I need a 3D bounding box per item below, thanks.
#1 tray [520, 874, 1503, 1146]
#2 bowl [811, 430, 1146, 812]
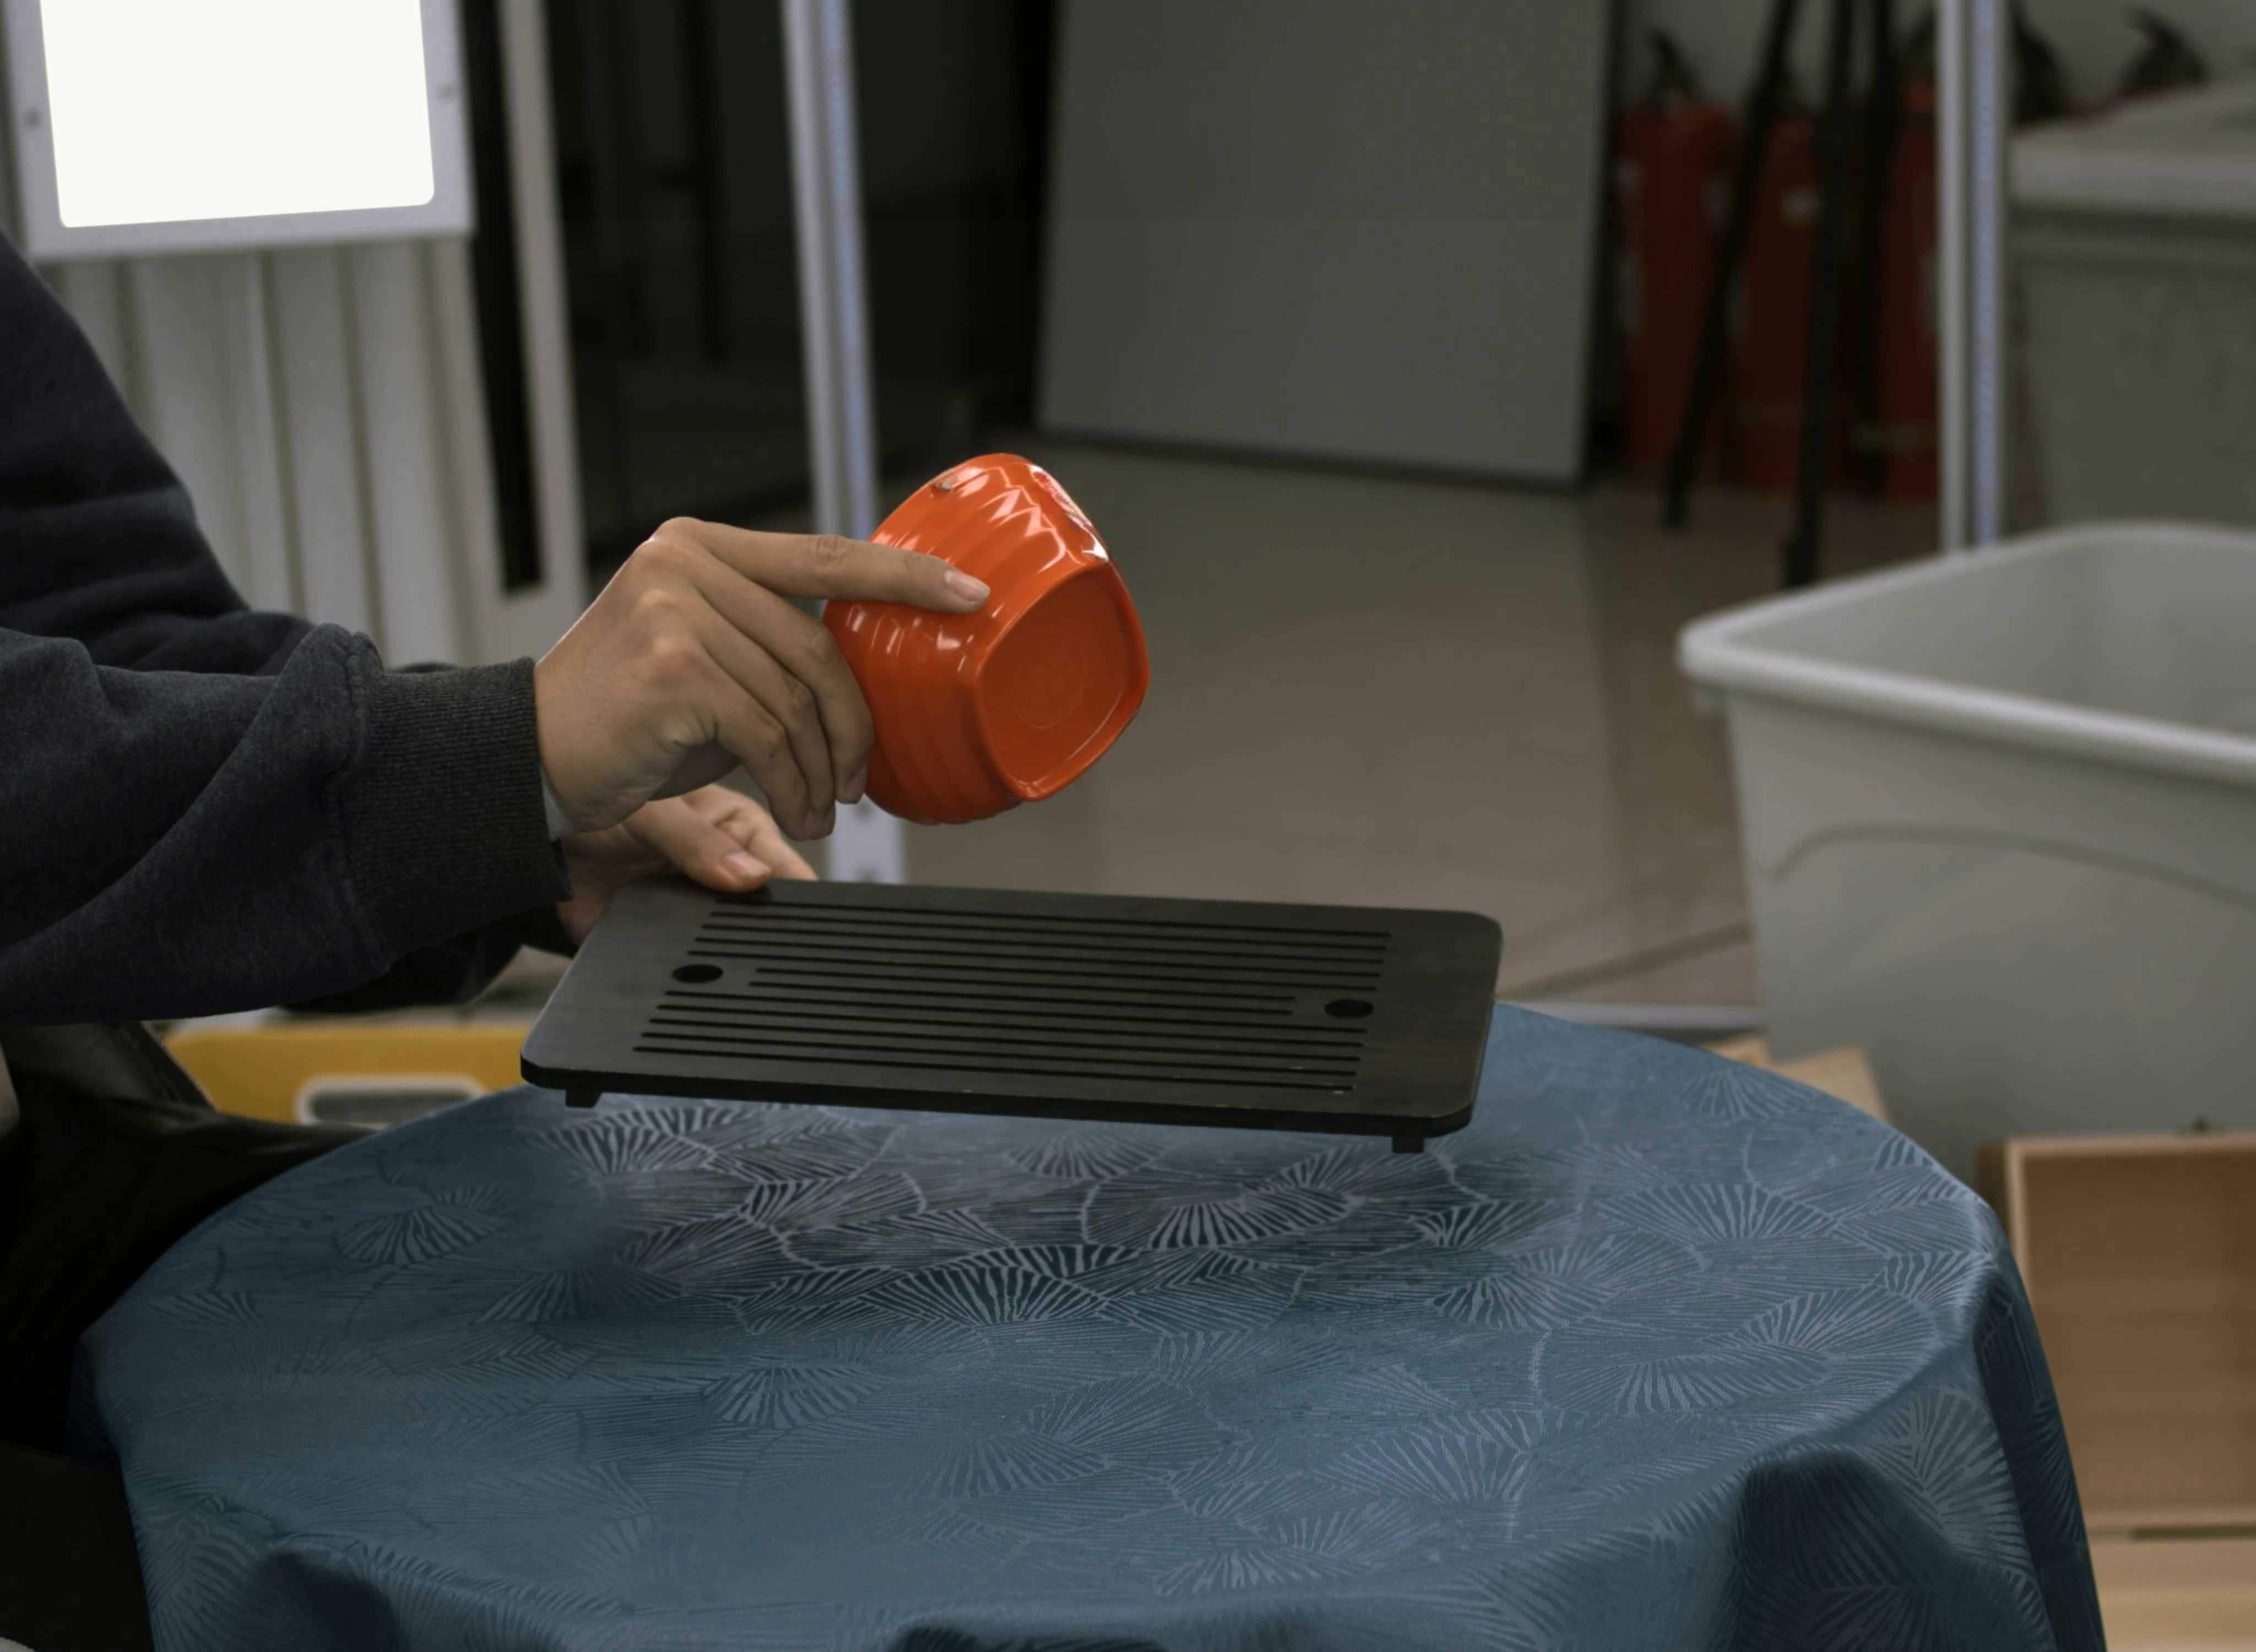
[{"bbox_3d":[-0.033,0.059,1.752,0.303,0.019,0.170,2,21,9],"label":"tray"},{"bbox_3d":[-0.037,-0.055,1.634,0.116,0.120,0.052,-15,30,-41],"label":"bowl"}]
